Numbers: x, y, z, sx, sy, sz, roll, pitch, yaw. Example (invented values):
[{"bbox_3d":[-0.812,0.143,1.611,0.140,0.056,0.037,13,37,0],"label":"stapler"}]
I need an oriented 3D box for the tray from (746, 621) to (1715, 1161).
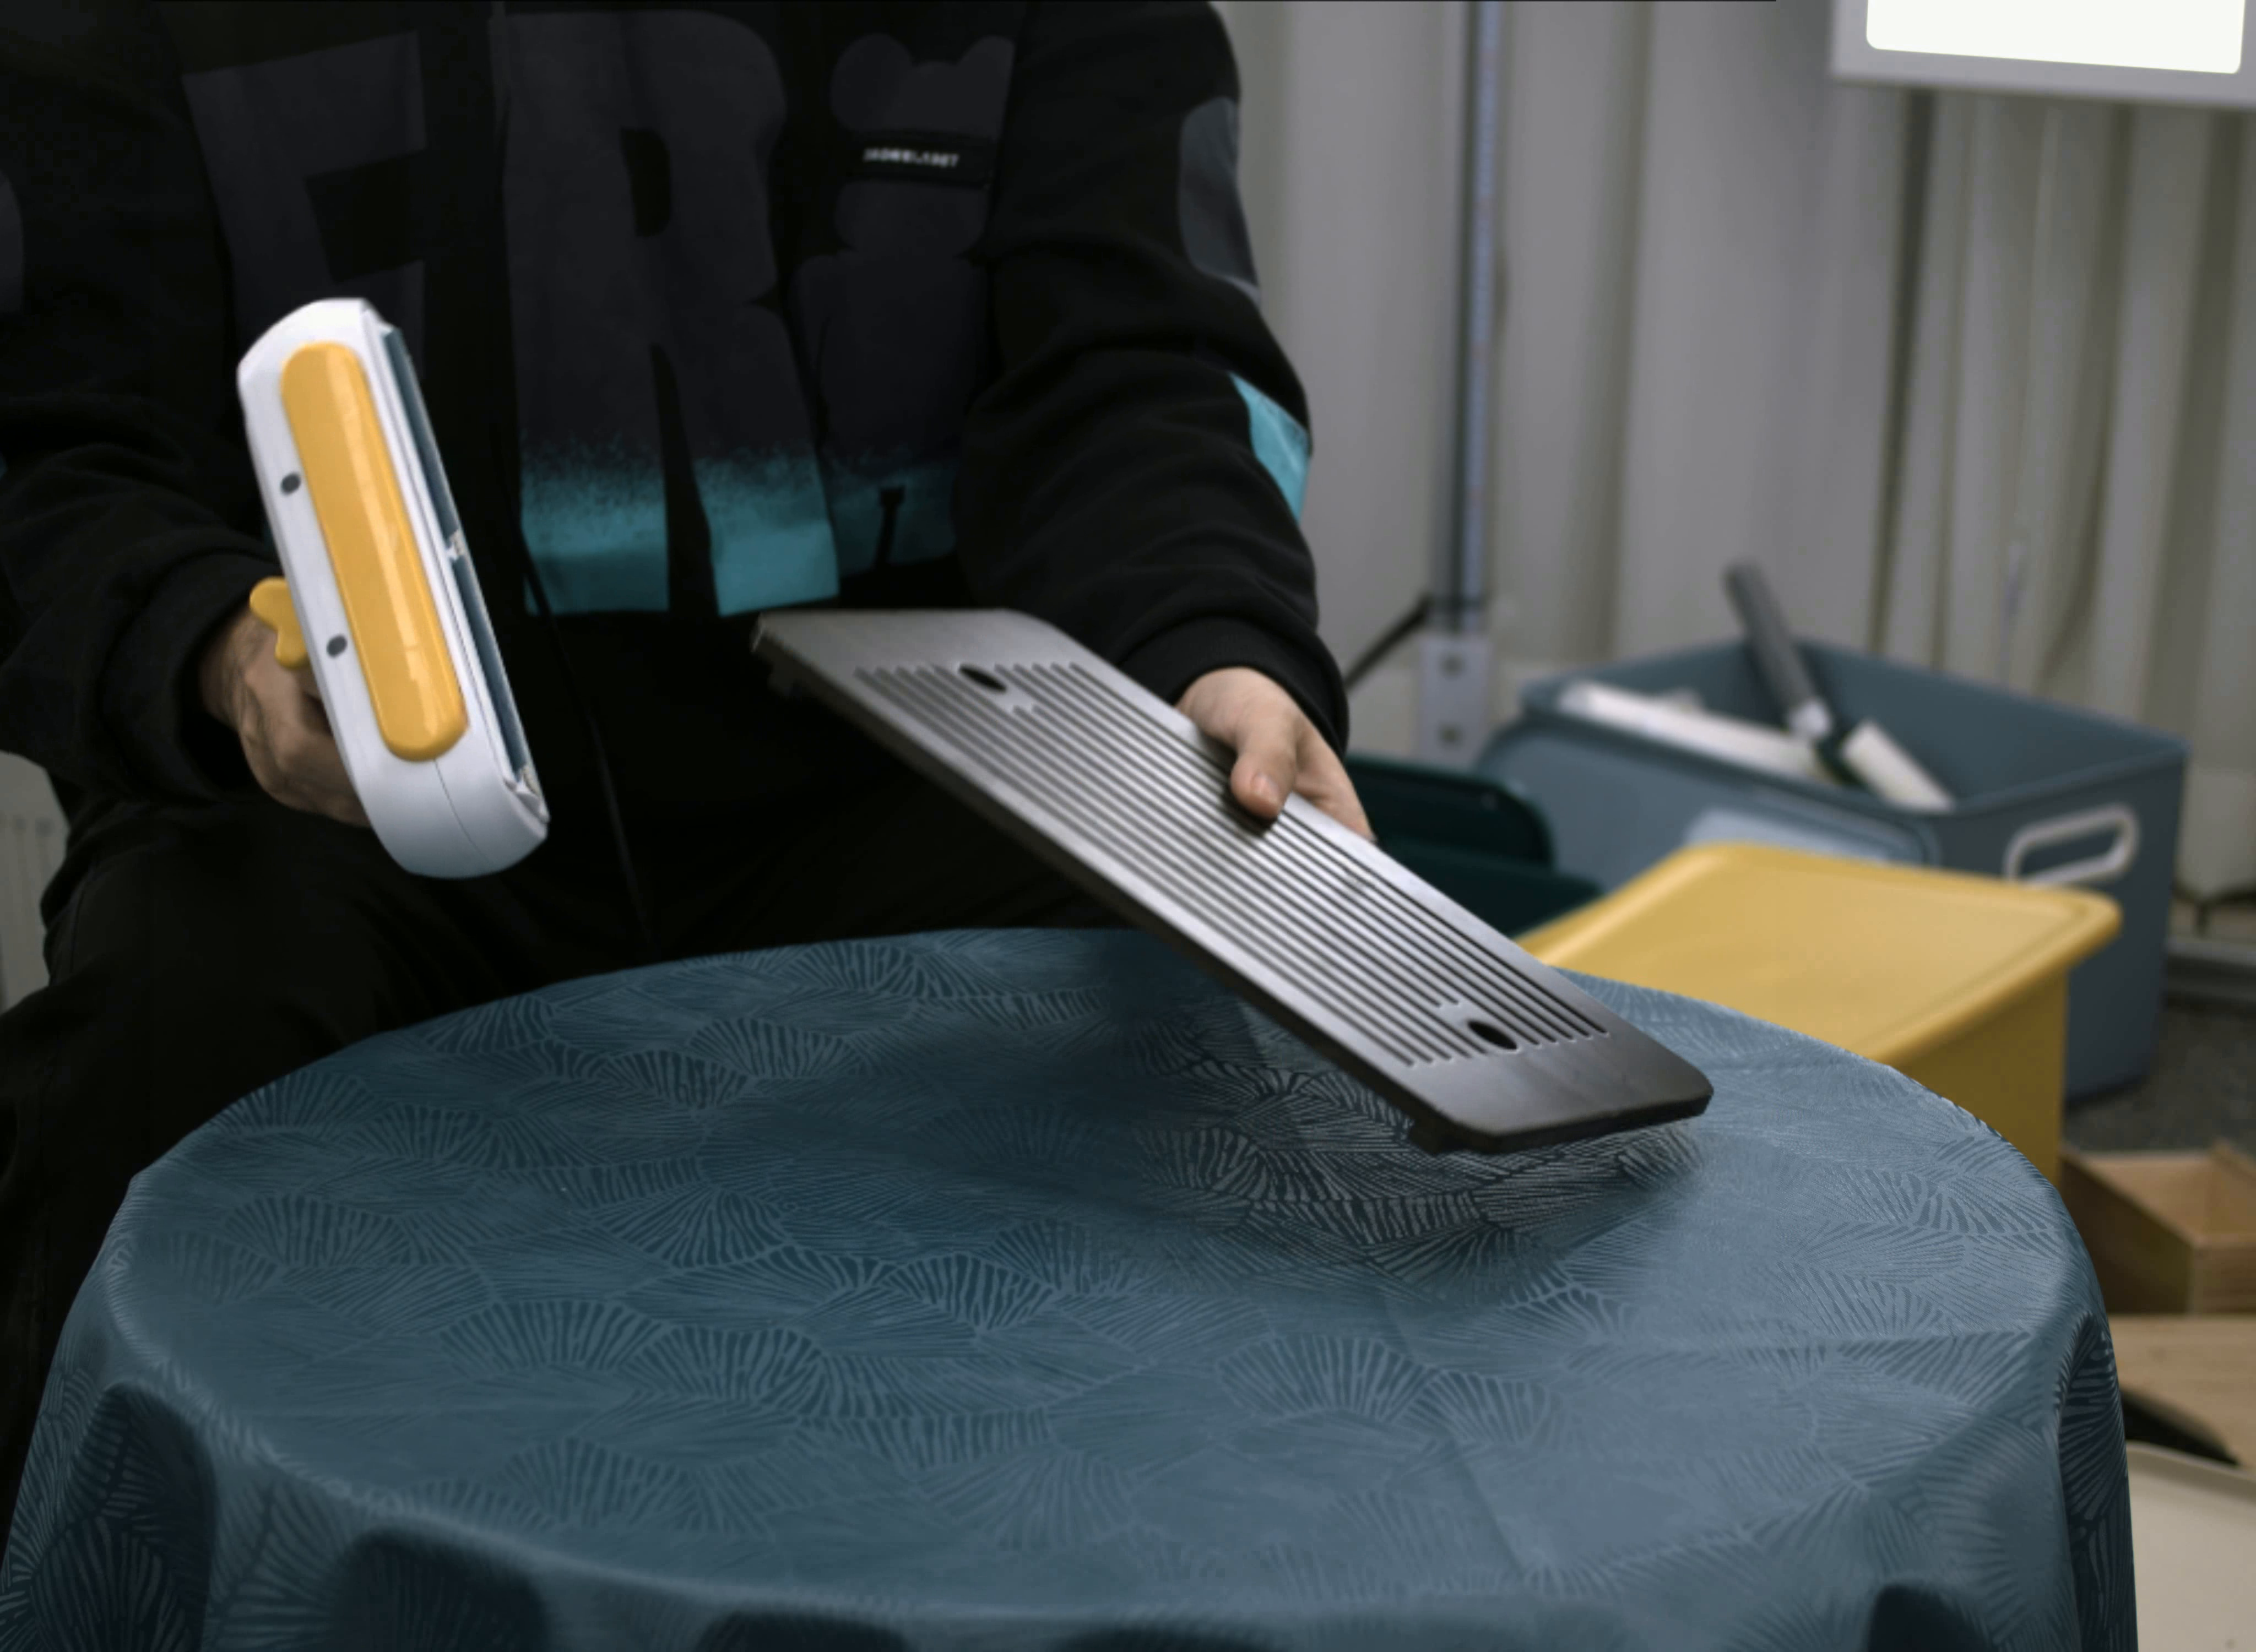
[{"bbox_3d":[0.031,0.018,1.661,0.302,0.019,0.171,34,20,25],"label":"tray"}]

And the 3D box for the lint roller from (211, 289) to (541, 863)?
[{"bbox_3d":[-0.234,-0.050,1.683,0.074,0.191,0.194,-23,-24,-6],"label":"lint roller"}]
